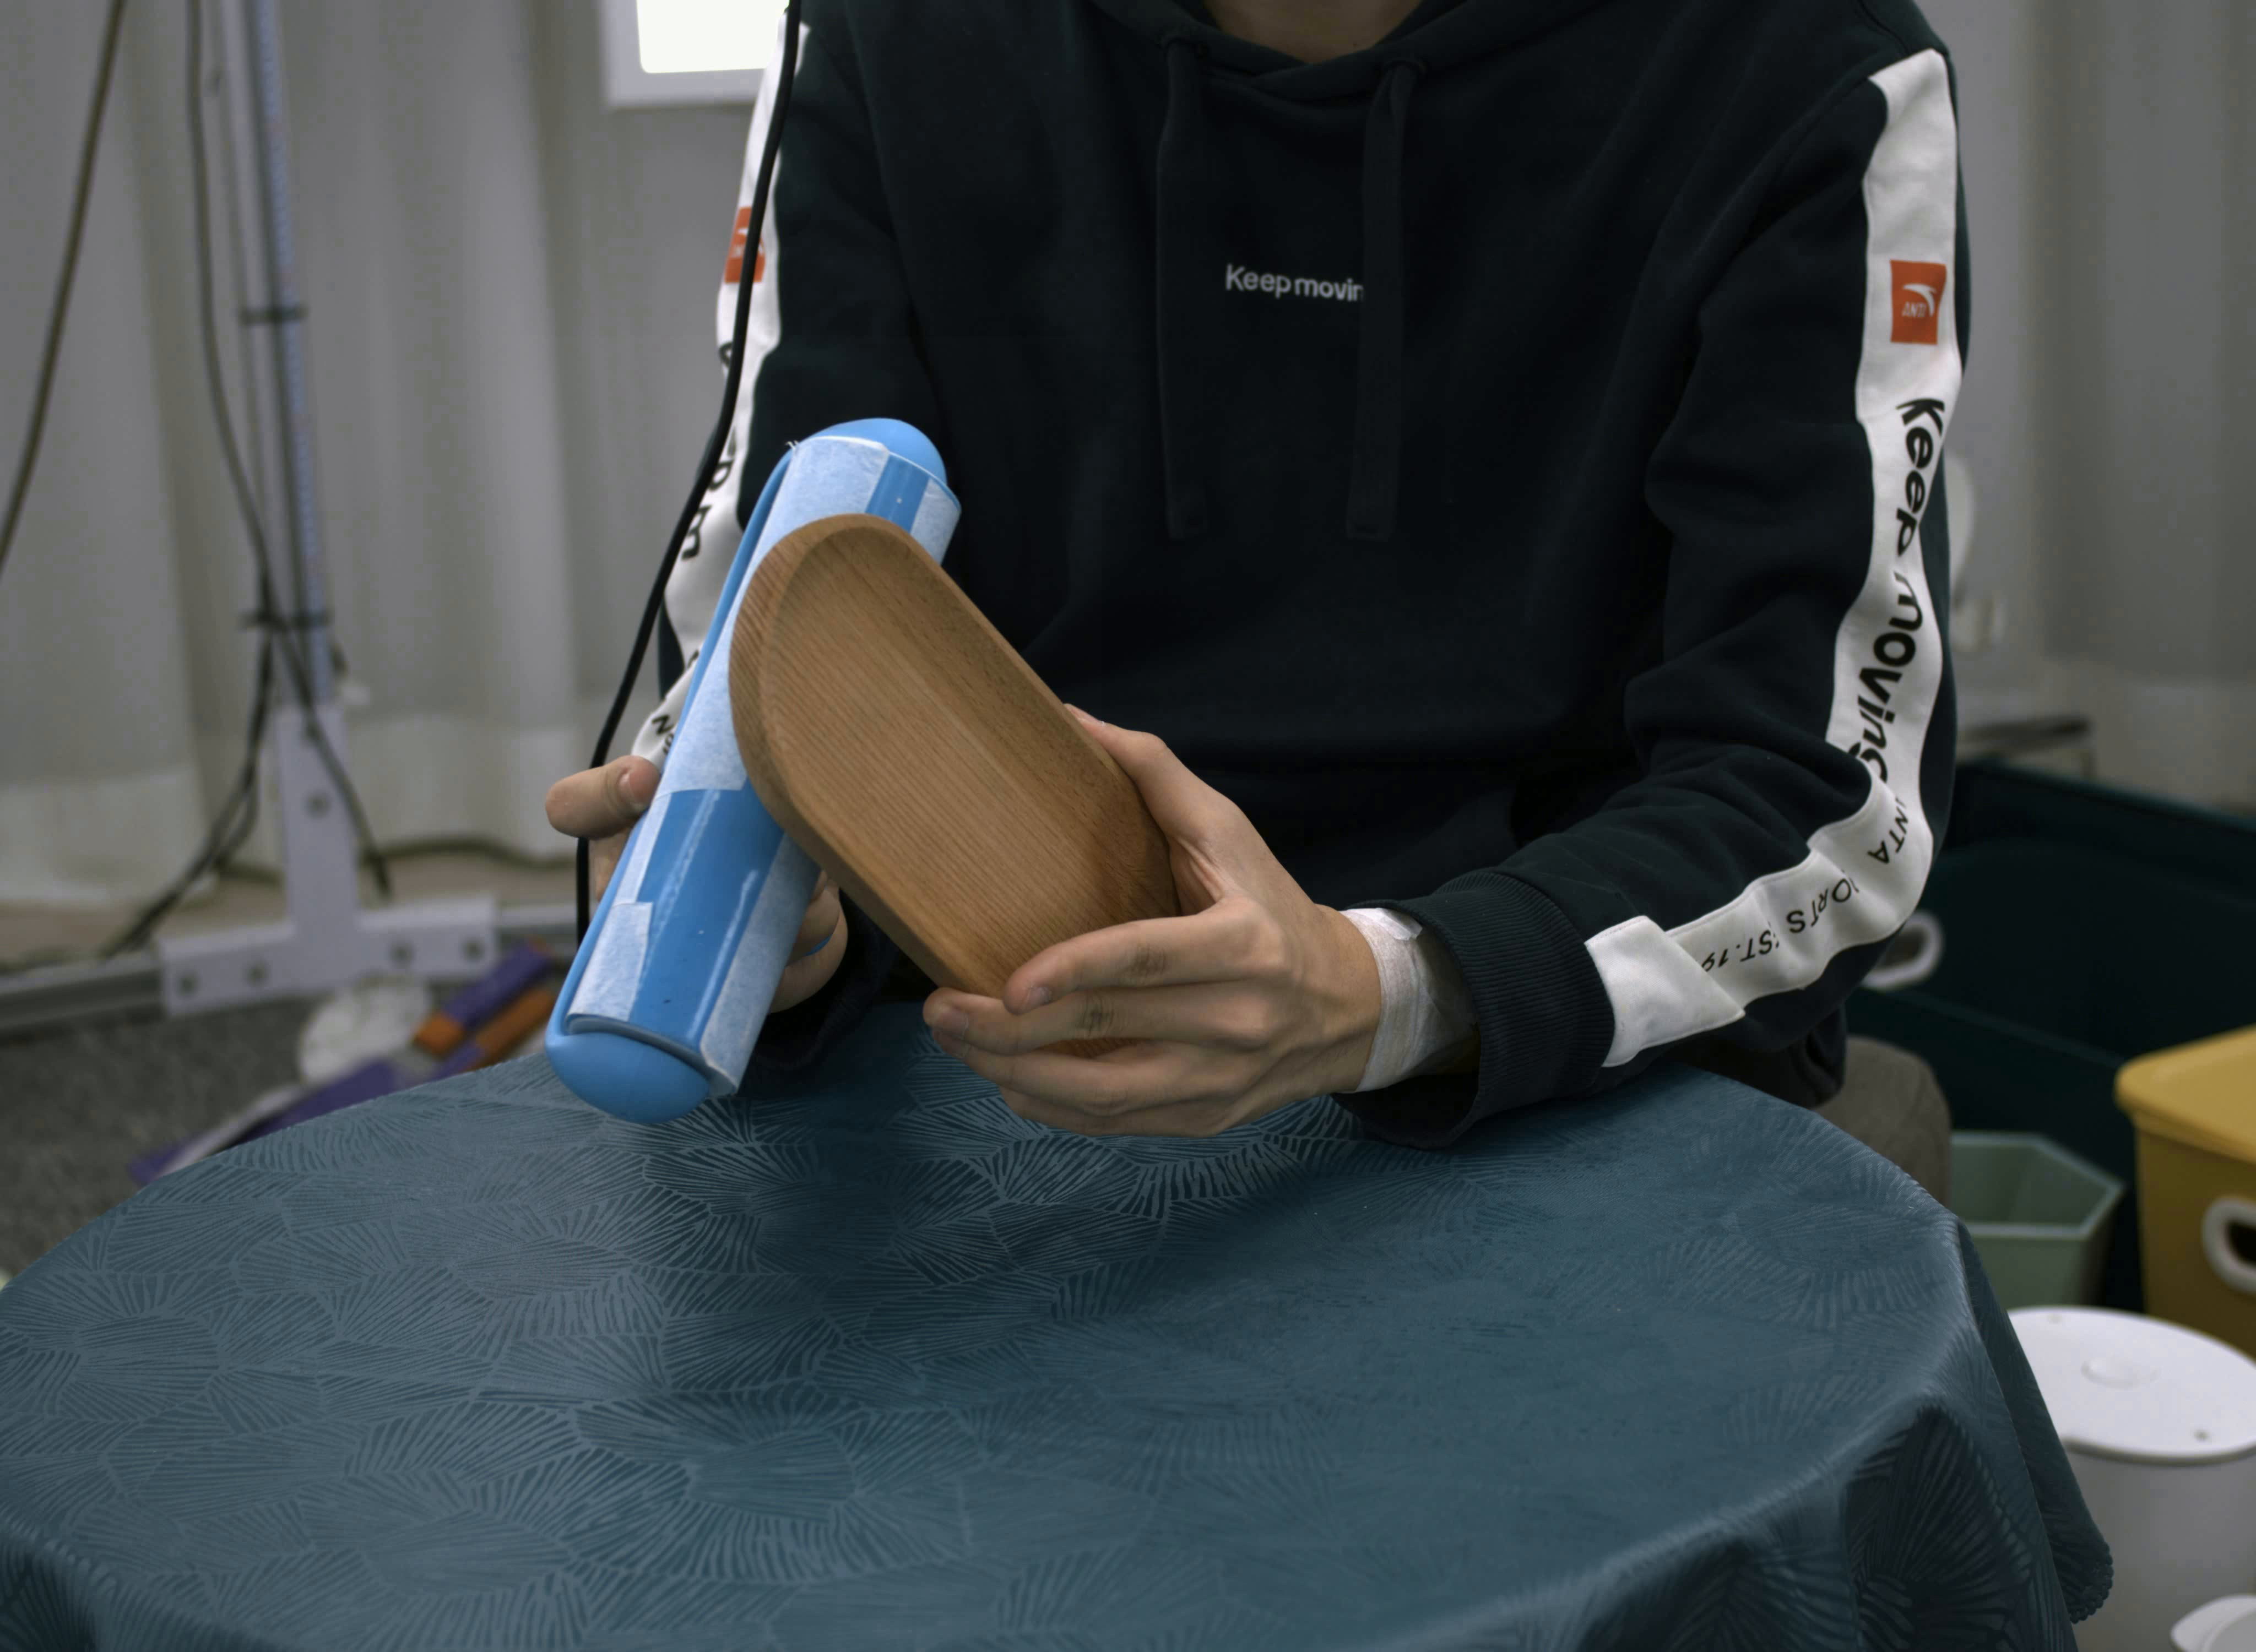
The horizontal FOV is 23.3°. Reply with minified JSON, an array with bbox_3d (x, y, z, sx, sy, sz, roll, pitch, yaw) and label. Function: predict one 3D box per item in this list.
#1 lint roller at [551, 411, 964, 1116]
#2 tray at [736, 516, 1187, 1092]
[{"bbox_3d":[-0.113,0.000,1.661,0.068,0.231,0.179,19,-22,0],"label":"lint roller"},{"bbox_3d":[-0.047,-0.004,1.621,0.020,0.103,0.228,-1,-33,34],"label":"tray"}]
